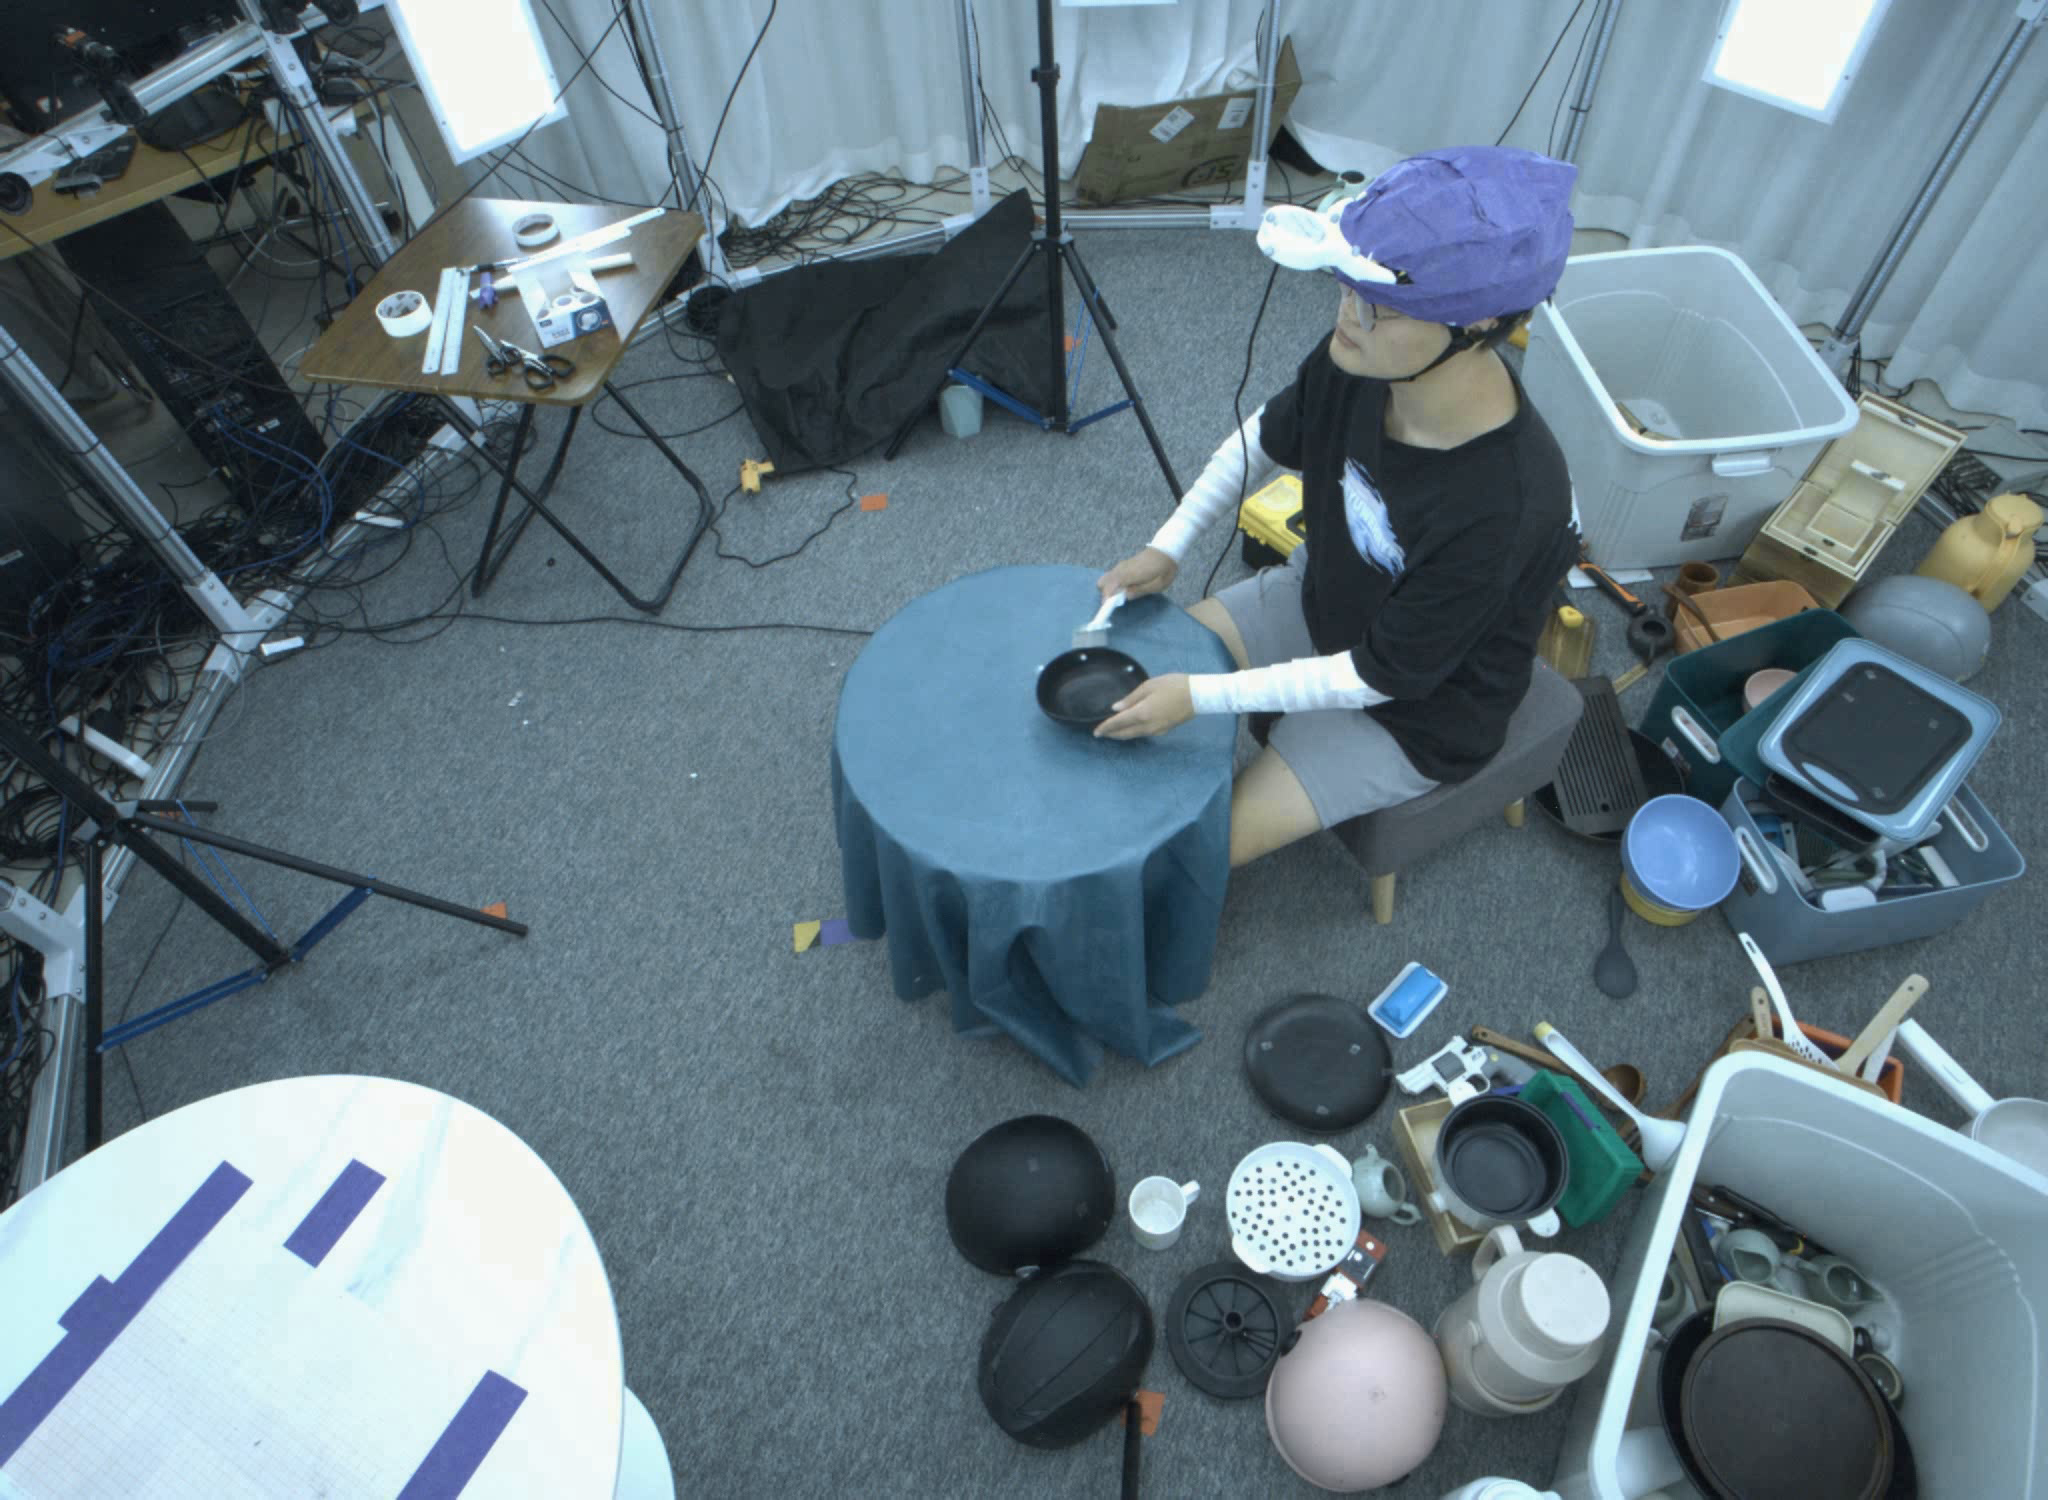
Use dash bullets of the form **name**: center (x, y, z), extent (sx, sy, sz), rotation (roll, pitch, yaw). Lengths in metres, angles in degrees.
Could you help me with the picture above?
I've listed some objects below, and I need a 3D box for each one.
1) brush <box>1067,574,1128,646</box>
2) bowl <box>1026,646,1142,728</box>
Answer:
- **brush**: center (0.119, -0.210, 1.861), extent (0.034, 0.051, 0.244), rotation (-7, 22, 25)
- **bowl**: center (0.087, -0.082, 1.795), extent (0.171, 0.067, 0.135), rotation (-16, 55, -12)
